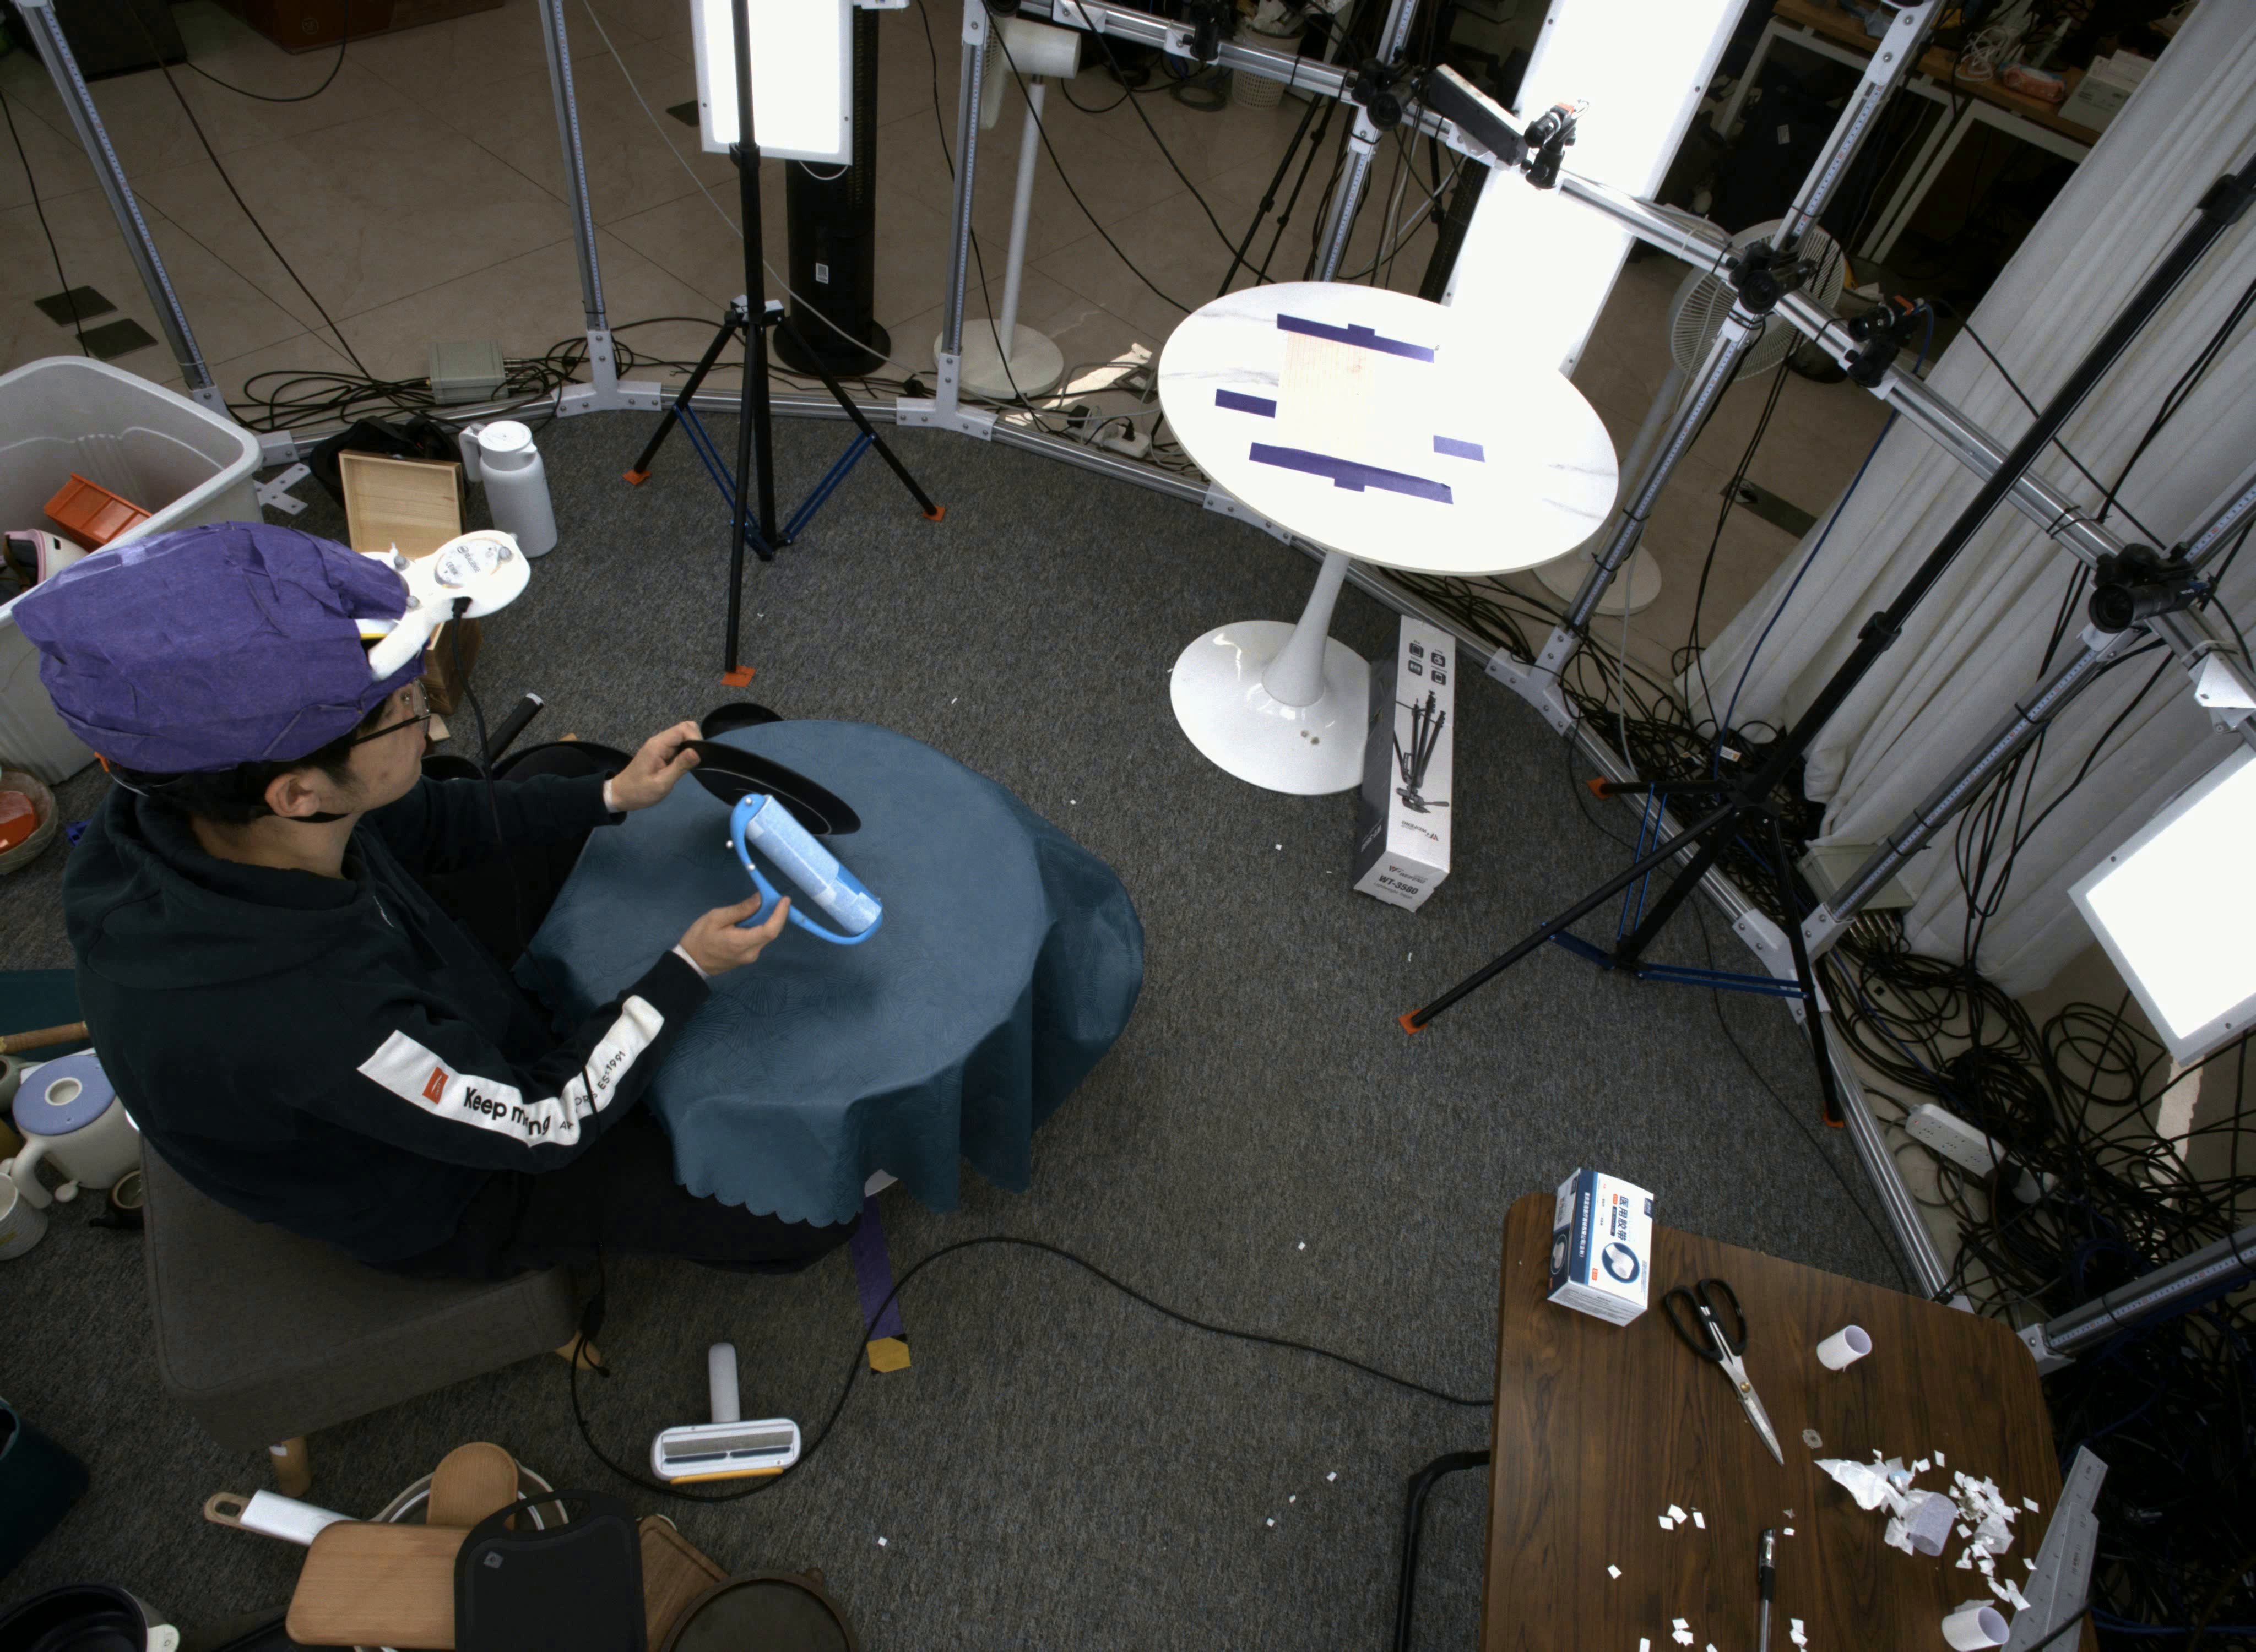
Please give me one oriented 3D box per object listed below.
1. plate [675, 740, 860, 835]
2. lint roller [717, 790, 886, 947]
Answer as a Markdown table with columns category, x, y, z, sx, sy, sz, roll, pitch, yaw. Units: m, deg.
| category | x | y | z | sx | sy | sz | roll | pitch | yaw |
| --- | --- | --- | --- | --- | --- | --- | --- | --- | --- |
| plate | -0.452 | -0.040 | 1.611 | 0.242 | 0.247 | 0.023 | 18 | 72 | 1 |
| lint roller | -0.412 | 0.084 | 1.516 | 0.180 | 0.236 | 0.066 | -44 | 29 | 3 |
